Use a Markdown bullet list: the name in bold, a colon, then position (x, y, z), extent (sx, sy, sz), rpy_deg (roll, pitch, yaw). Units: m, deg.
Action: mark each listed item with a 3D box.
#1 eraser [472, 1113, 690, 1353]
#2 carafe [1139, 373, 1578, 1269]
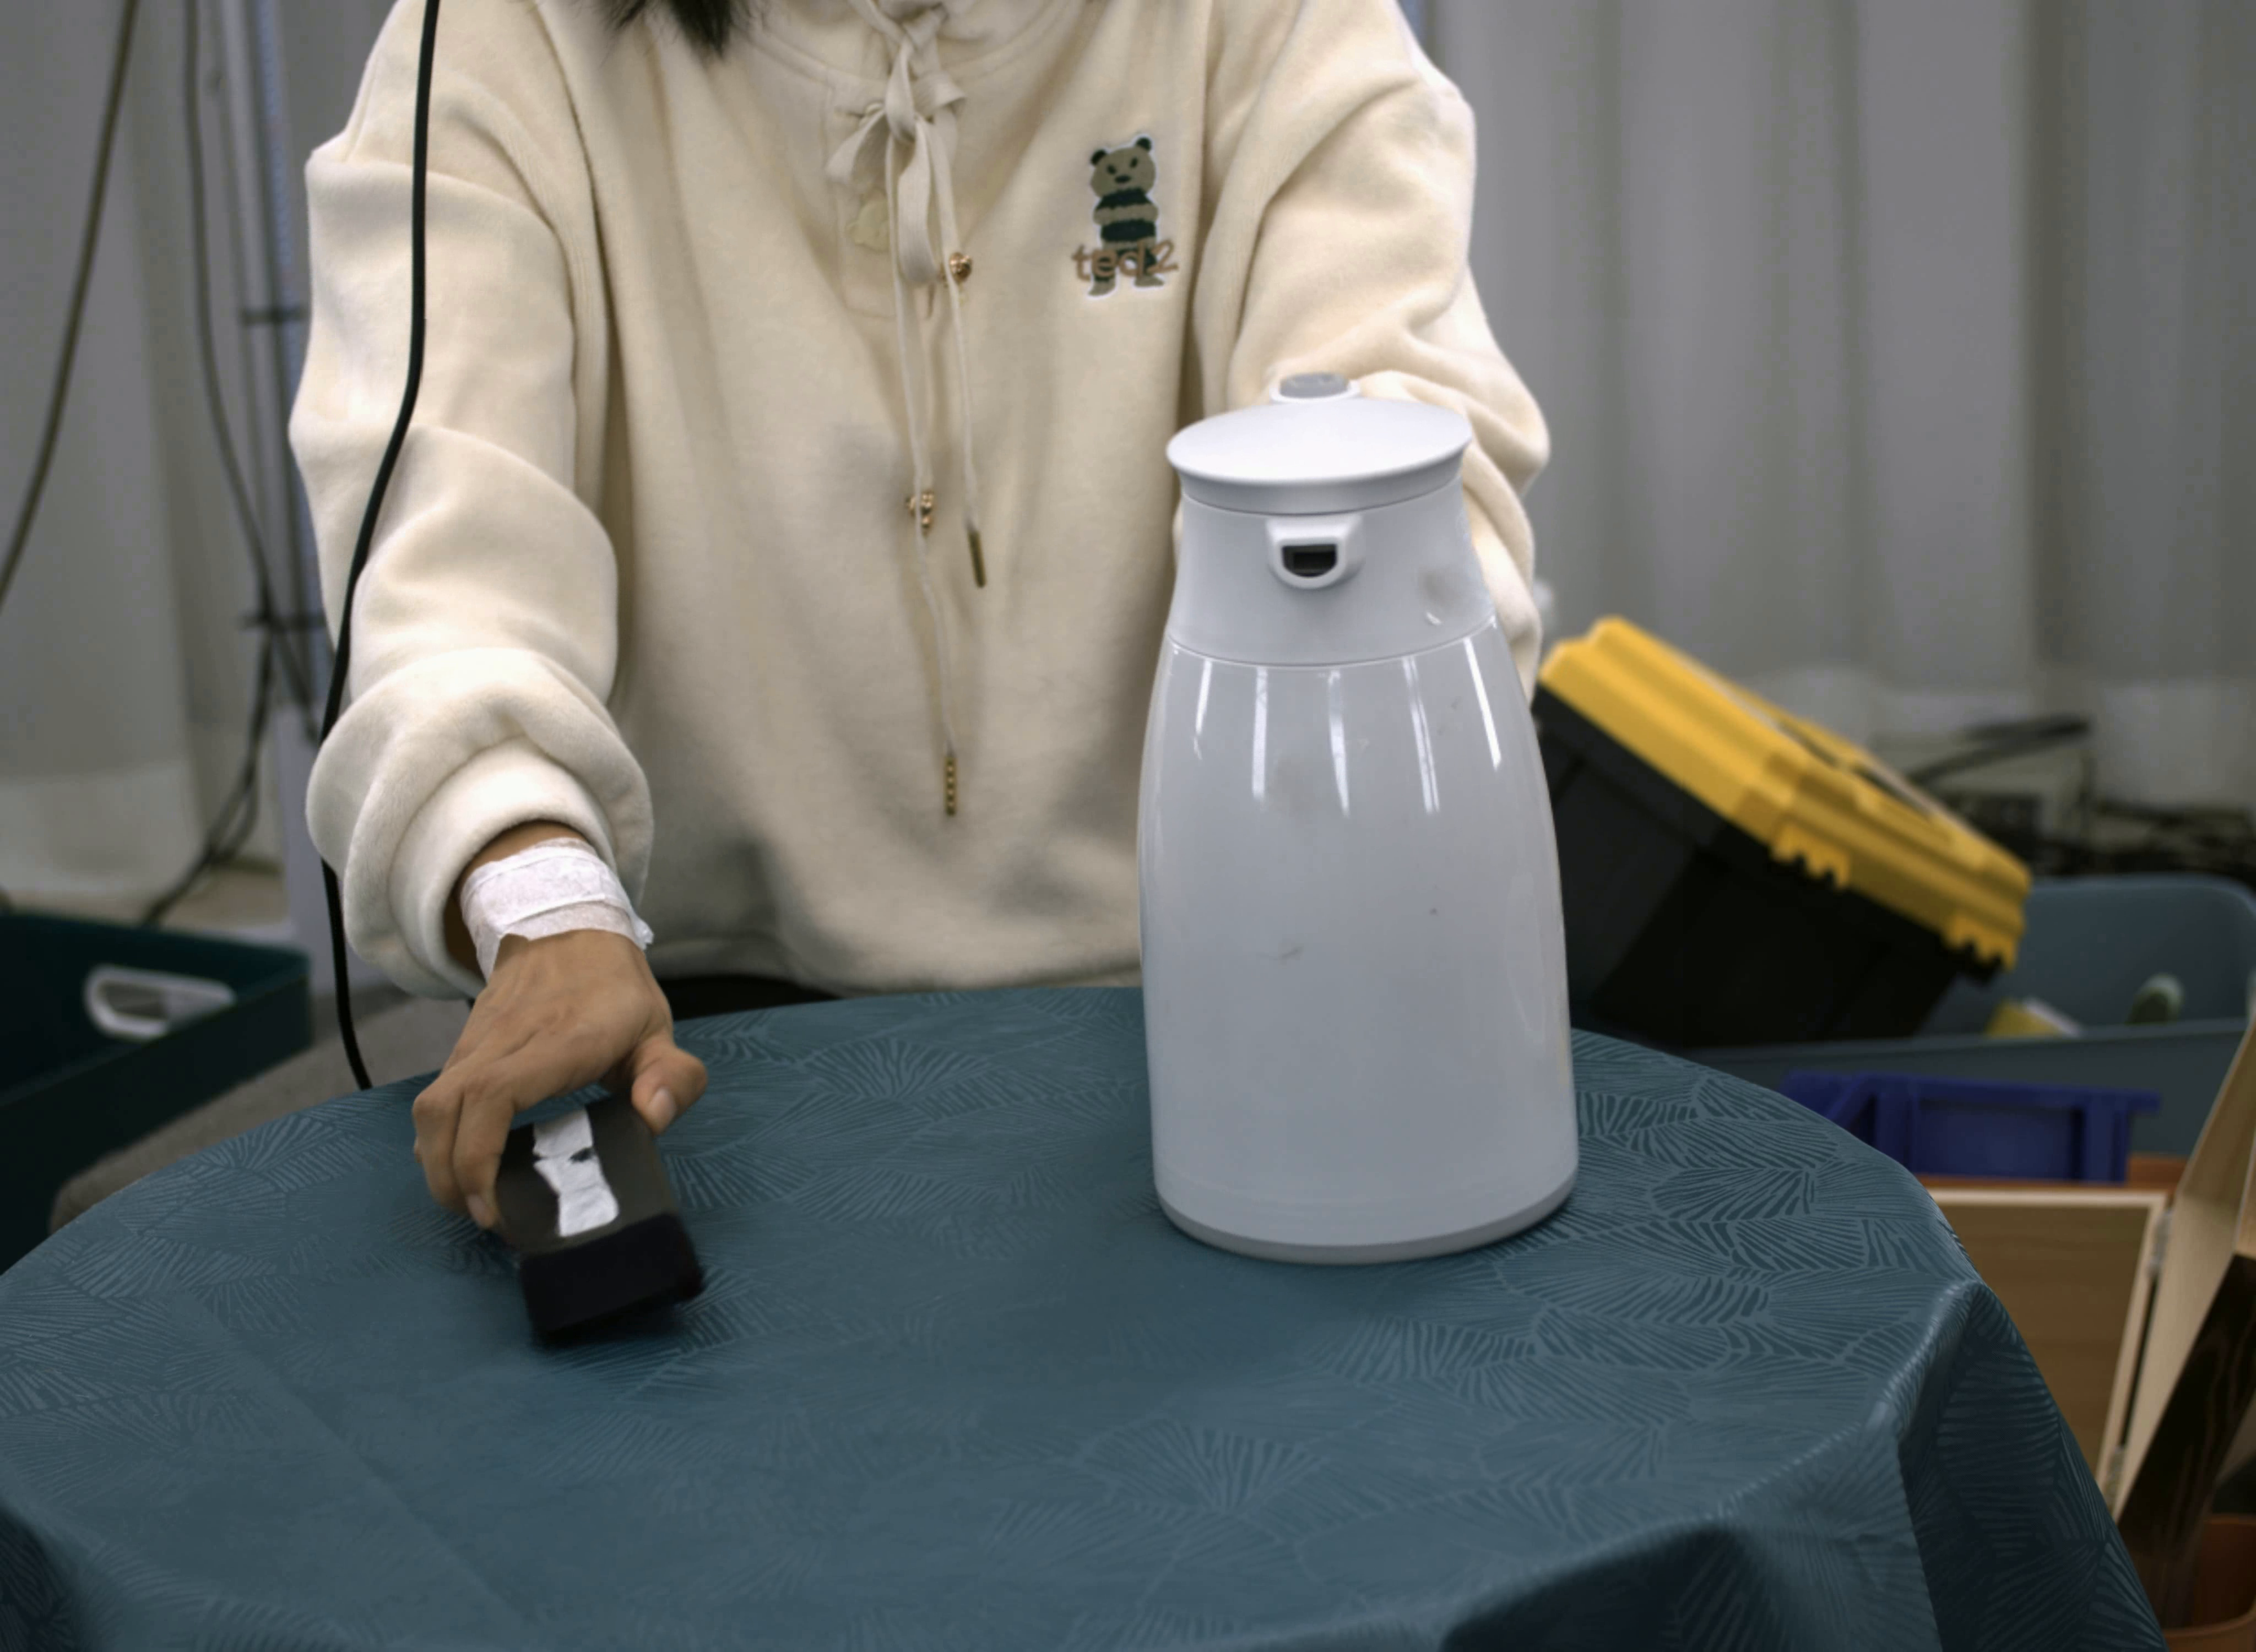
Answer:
- **eraser**: position (-0.165, 0.122, 1.649), extent (0.053, 0.030, 0.126), rpy_deg (-15, 16, -8)
- **carafe**: position (0.066, -0.011, 1.676), extent (0.132, 0.247, 0.169), rpy_deg (-3, 16, 5)
